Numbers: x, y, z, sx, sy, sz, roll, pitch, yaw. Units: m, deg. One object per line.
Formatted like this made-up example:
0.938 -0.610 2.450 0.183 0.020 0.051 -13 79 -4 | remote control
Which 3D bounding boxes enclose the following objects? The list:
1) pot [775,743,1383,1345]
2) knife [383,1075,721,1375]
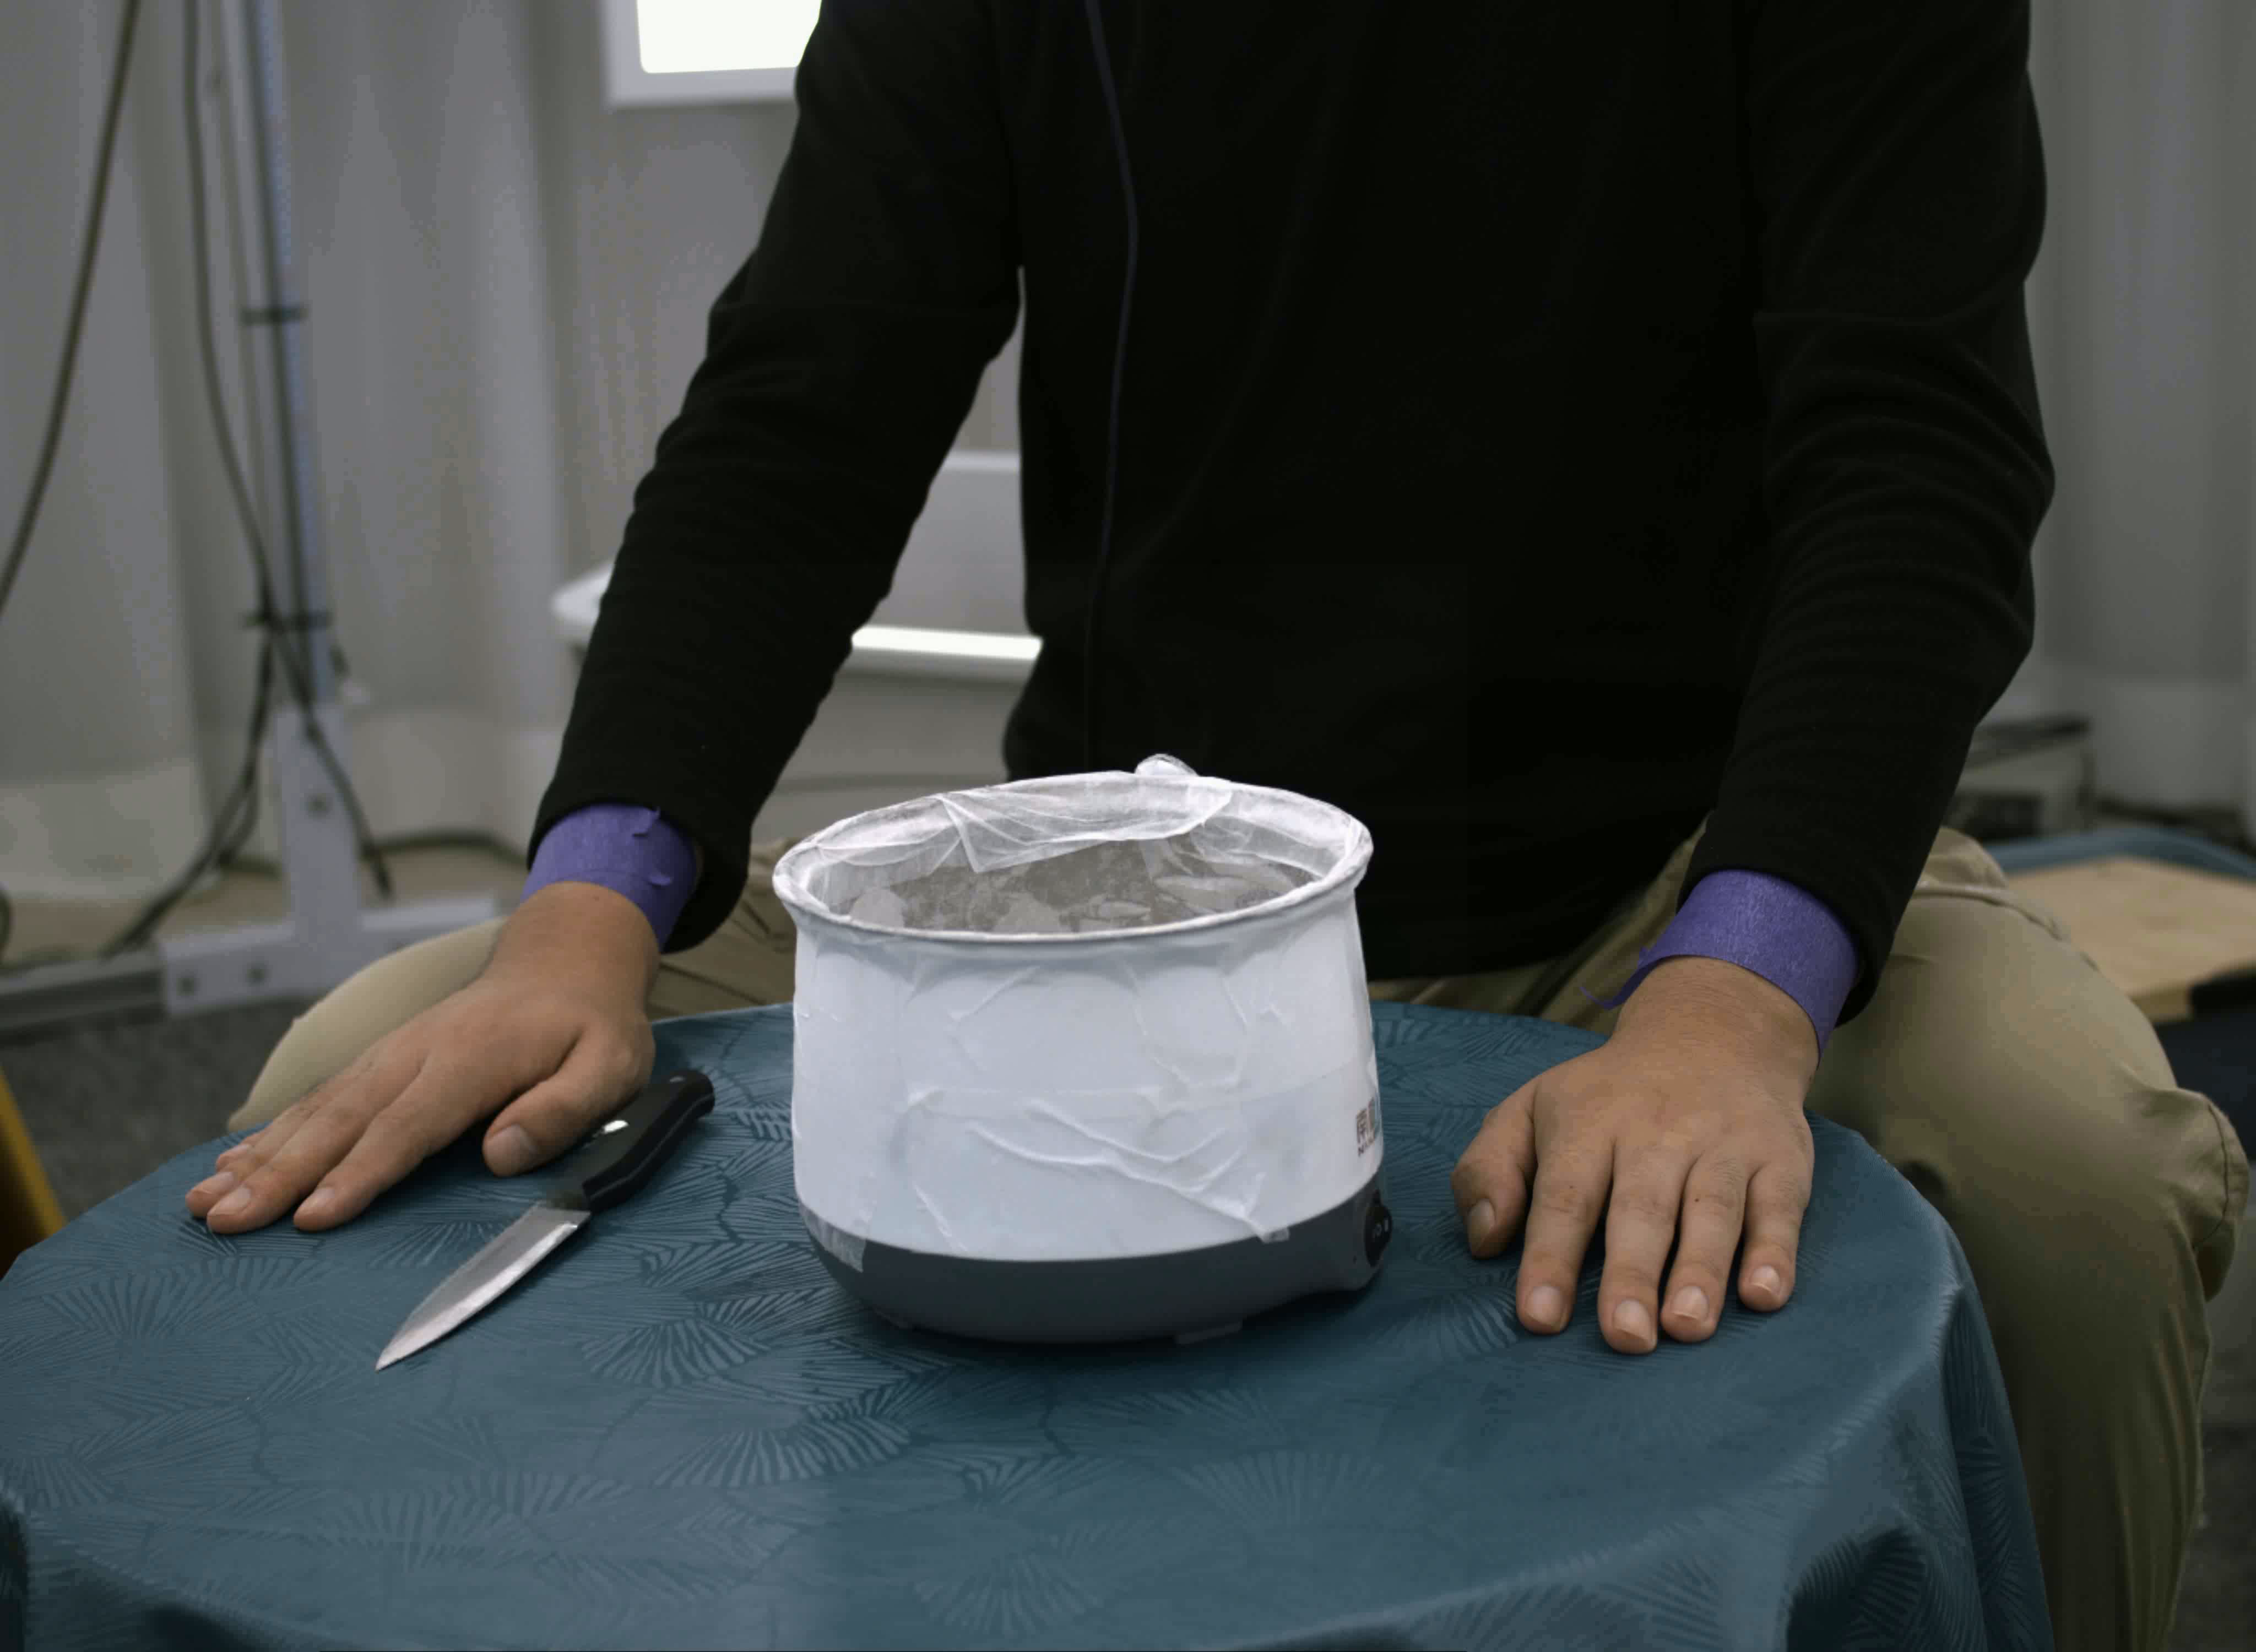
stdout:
-0.006 0.060 1.649 0.178 0.136 0.235 2 16 15 | pot
-0.180 0.123 1.696 0.024 0.016 0.239 3 19 18 | knife
